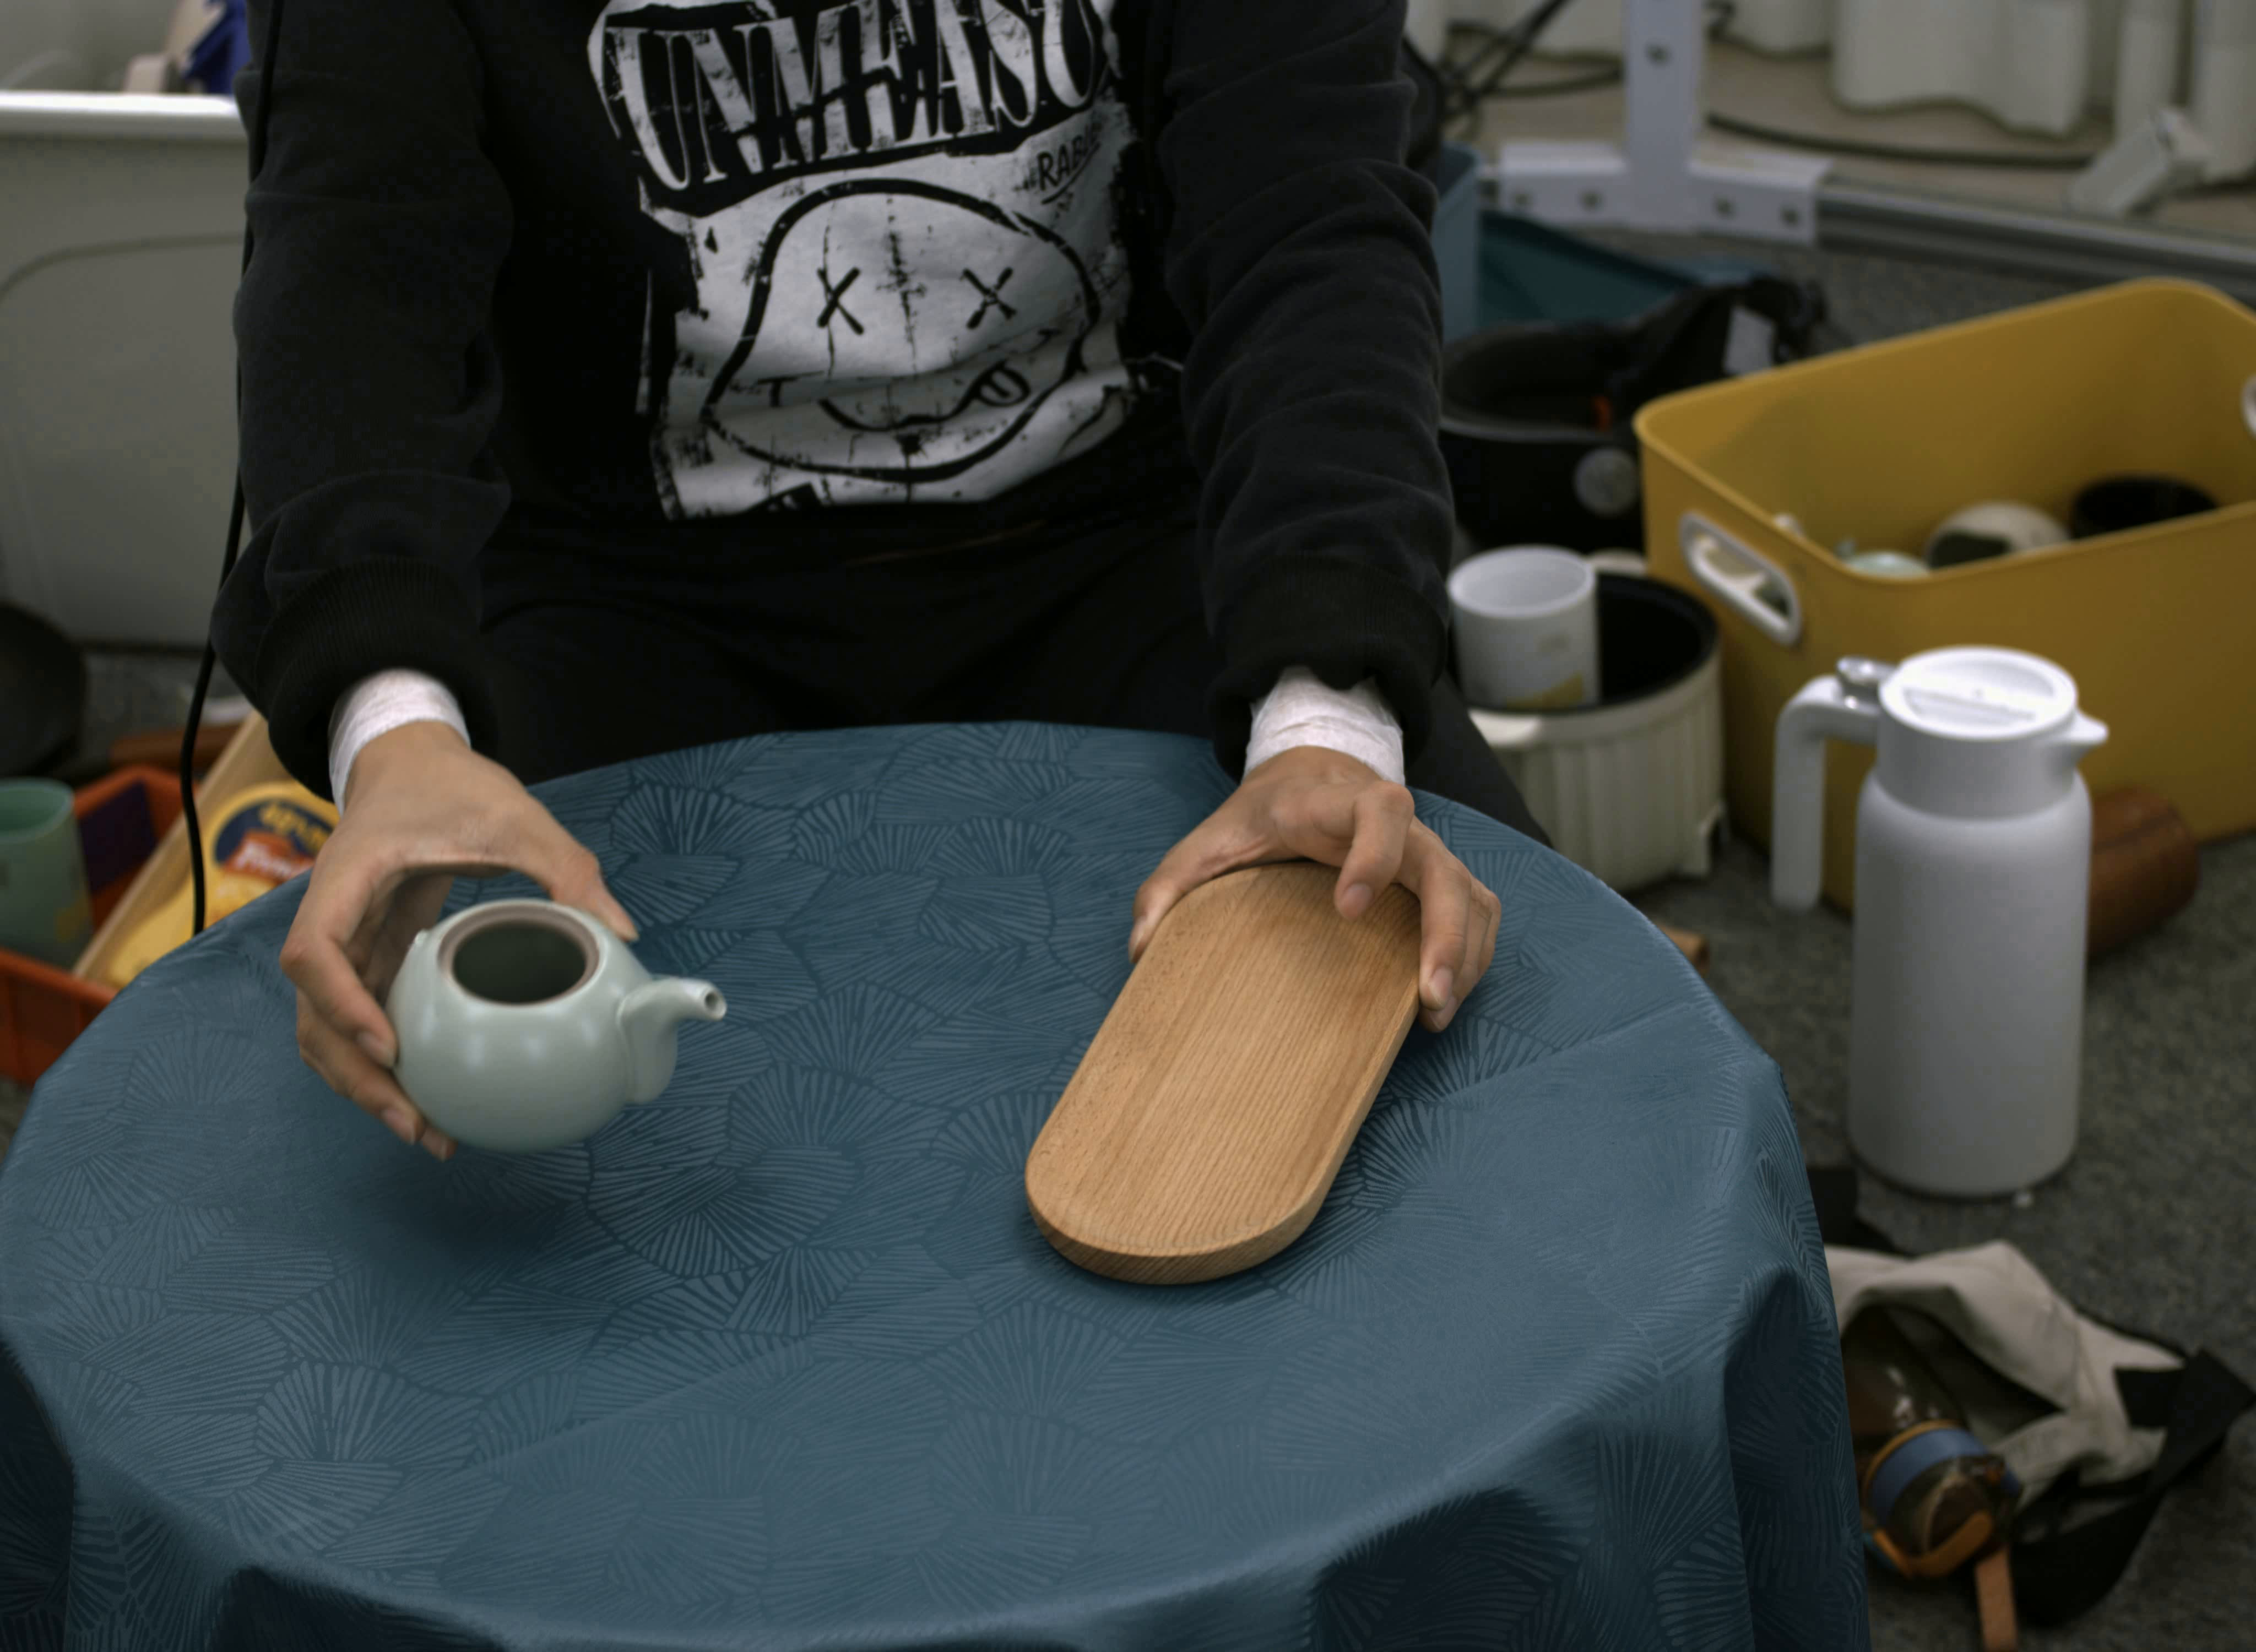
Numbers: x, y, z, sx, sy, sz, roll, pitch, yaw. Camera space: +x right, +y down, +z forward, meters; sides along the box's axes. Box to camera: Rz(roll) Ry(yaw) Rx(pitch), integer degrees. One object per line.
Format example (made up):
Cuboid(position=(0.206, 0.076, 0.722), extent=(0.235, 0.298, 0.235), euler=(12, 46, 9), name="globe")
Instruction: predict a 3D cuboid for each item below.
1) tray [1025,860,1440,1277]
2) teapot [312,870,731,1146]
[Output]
Cuboid(position=(0.037, 0.079, 1.897), extent=(0.101, 0.020, 0.235), euler=(8, 33, 16), name="tray")
Cuboid(position=(-0.198, 0.062, 1.831), extent=(0.143, 0.073, 0.090), euler=(17, 38, 11), name="teapot")
